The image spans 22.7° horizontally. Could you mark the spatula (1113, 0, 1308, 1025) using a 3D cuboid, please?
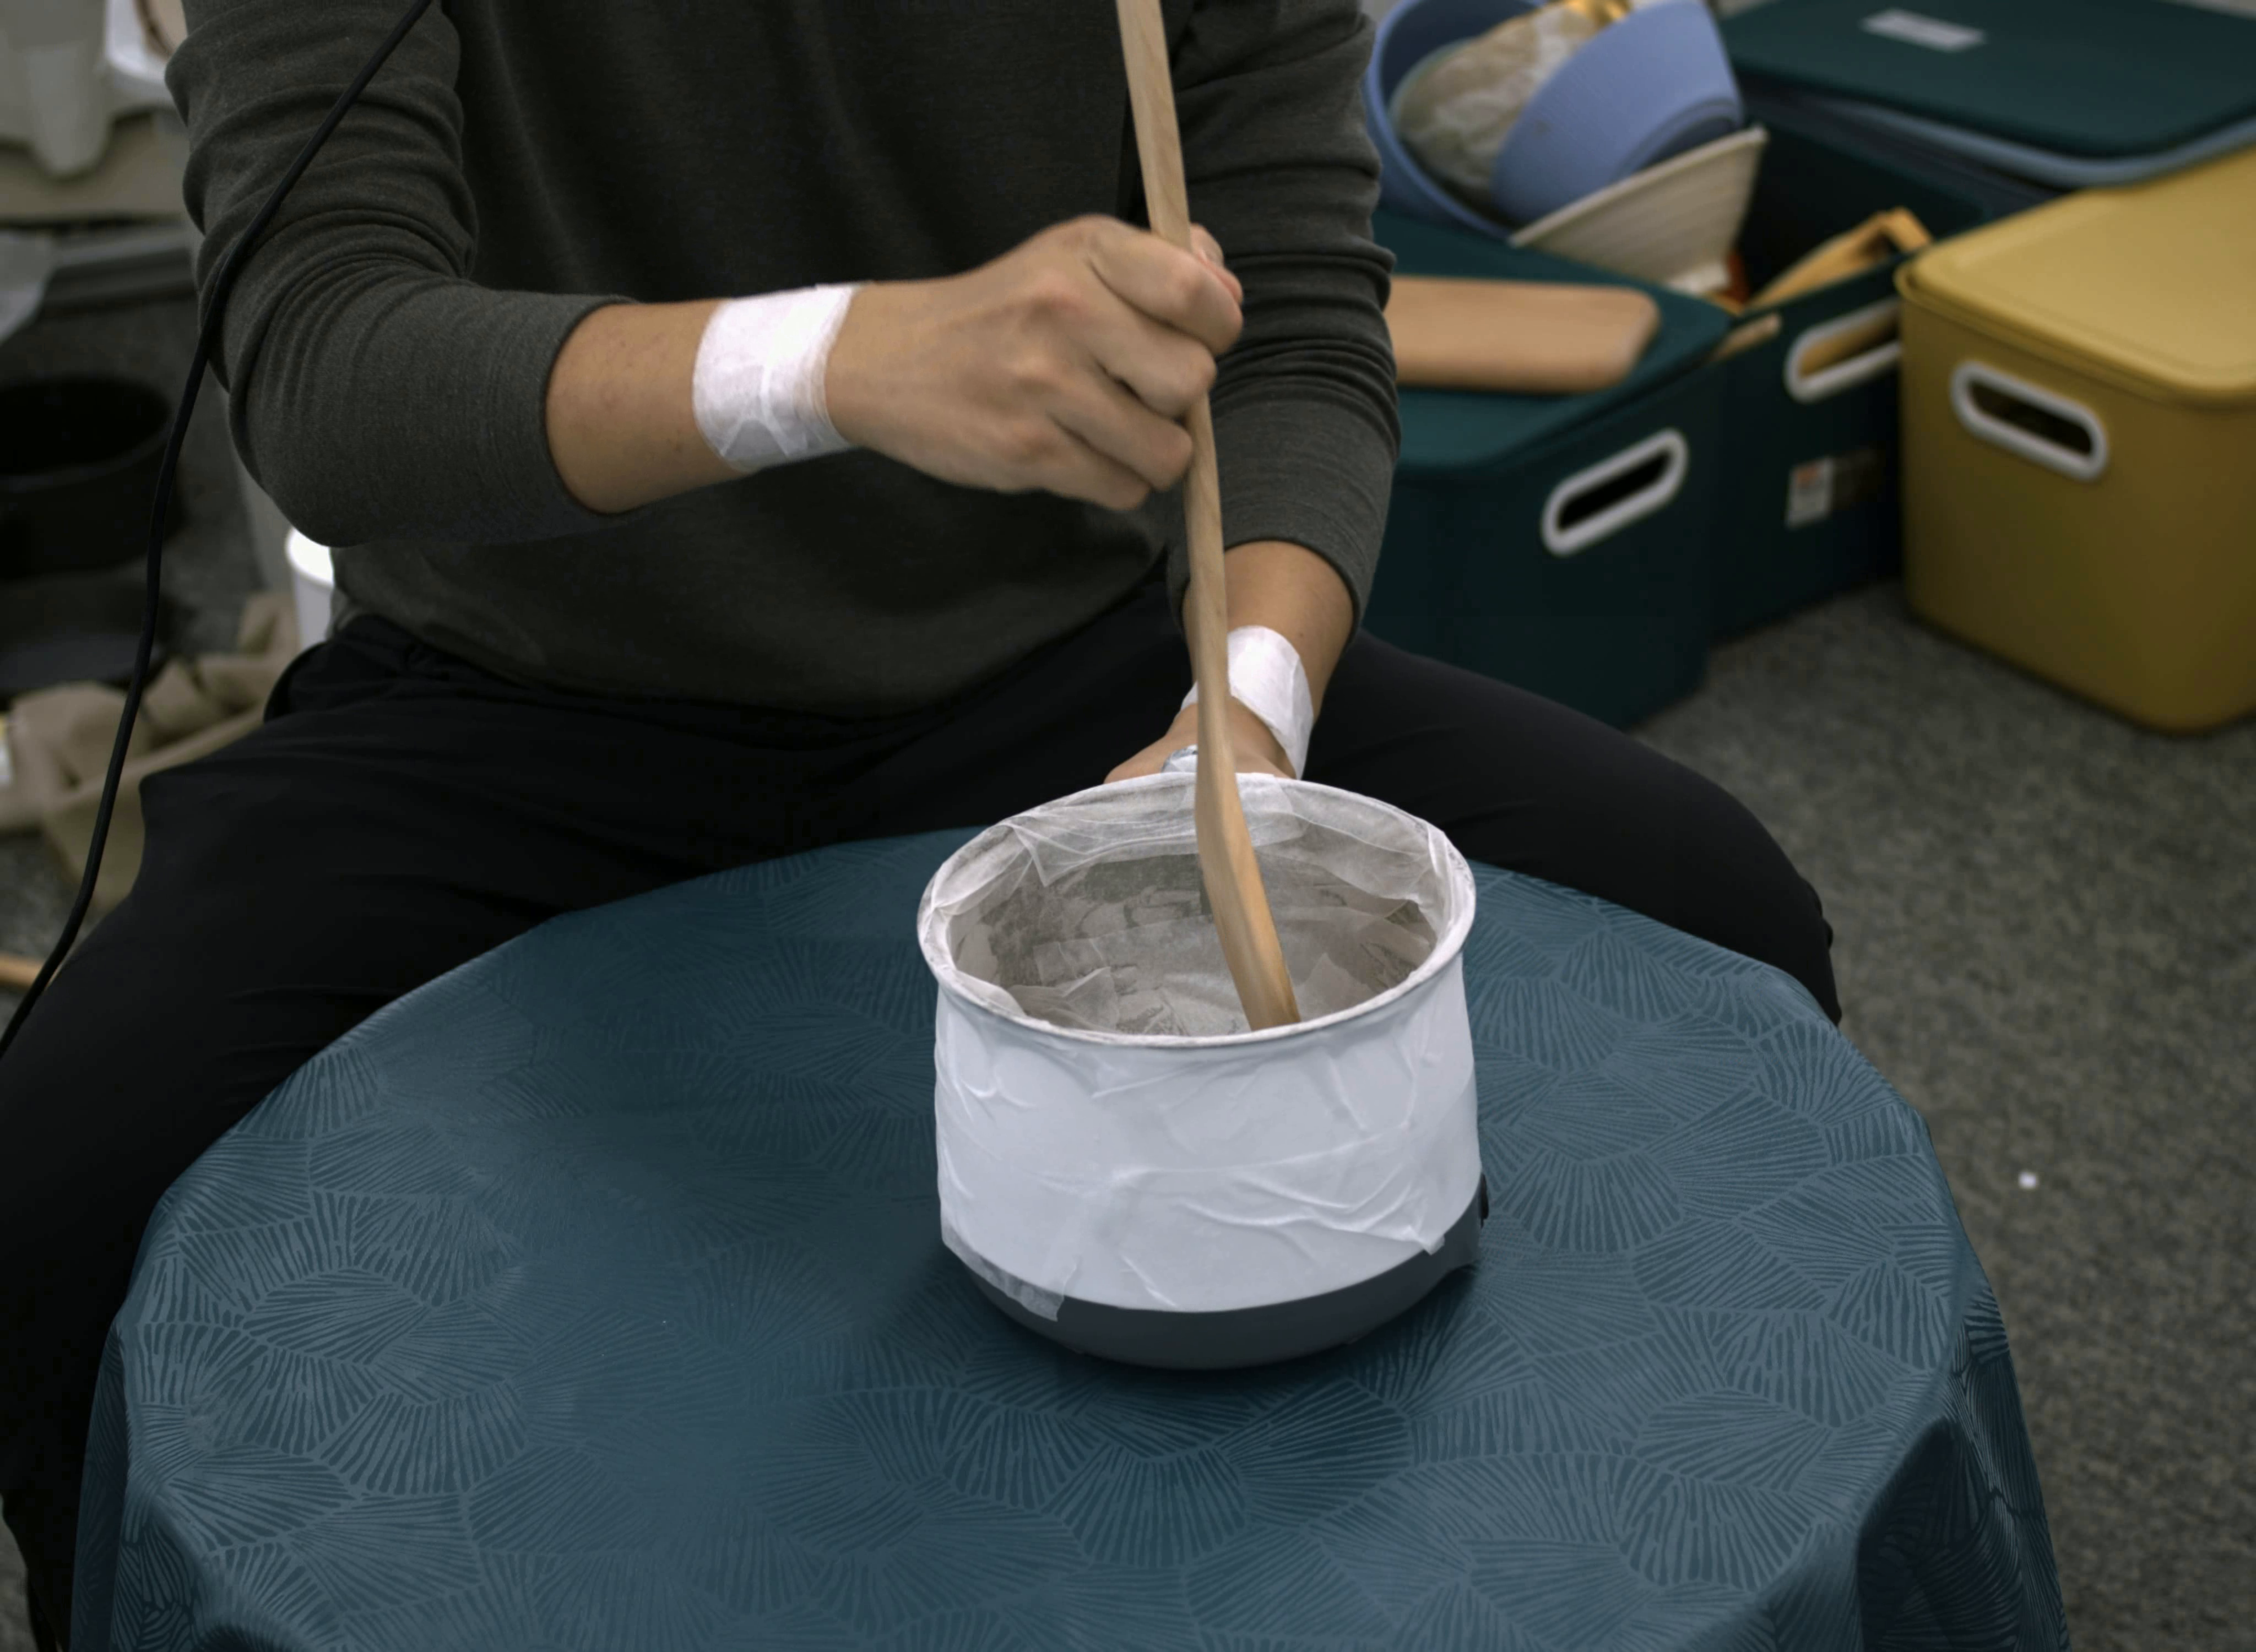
[{"bbox_3d":[0.022,-0.103,1.715,0.018,0.388,0.096,-10,20,-10],"label":"spatula"}]

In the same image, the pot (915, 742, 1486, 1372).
[{"bbox_3d":[0.024,0.067,1.818,0.178,0.135,0.237,-3,27,0],"label":"pot"}]
